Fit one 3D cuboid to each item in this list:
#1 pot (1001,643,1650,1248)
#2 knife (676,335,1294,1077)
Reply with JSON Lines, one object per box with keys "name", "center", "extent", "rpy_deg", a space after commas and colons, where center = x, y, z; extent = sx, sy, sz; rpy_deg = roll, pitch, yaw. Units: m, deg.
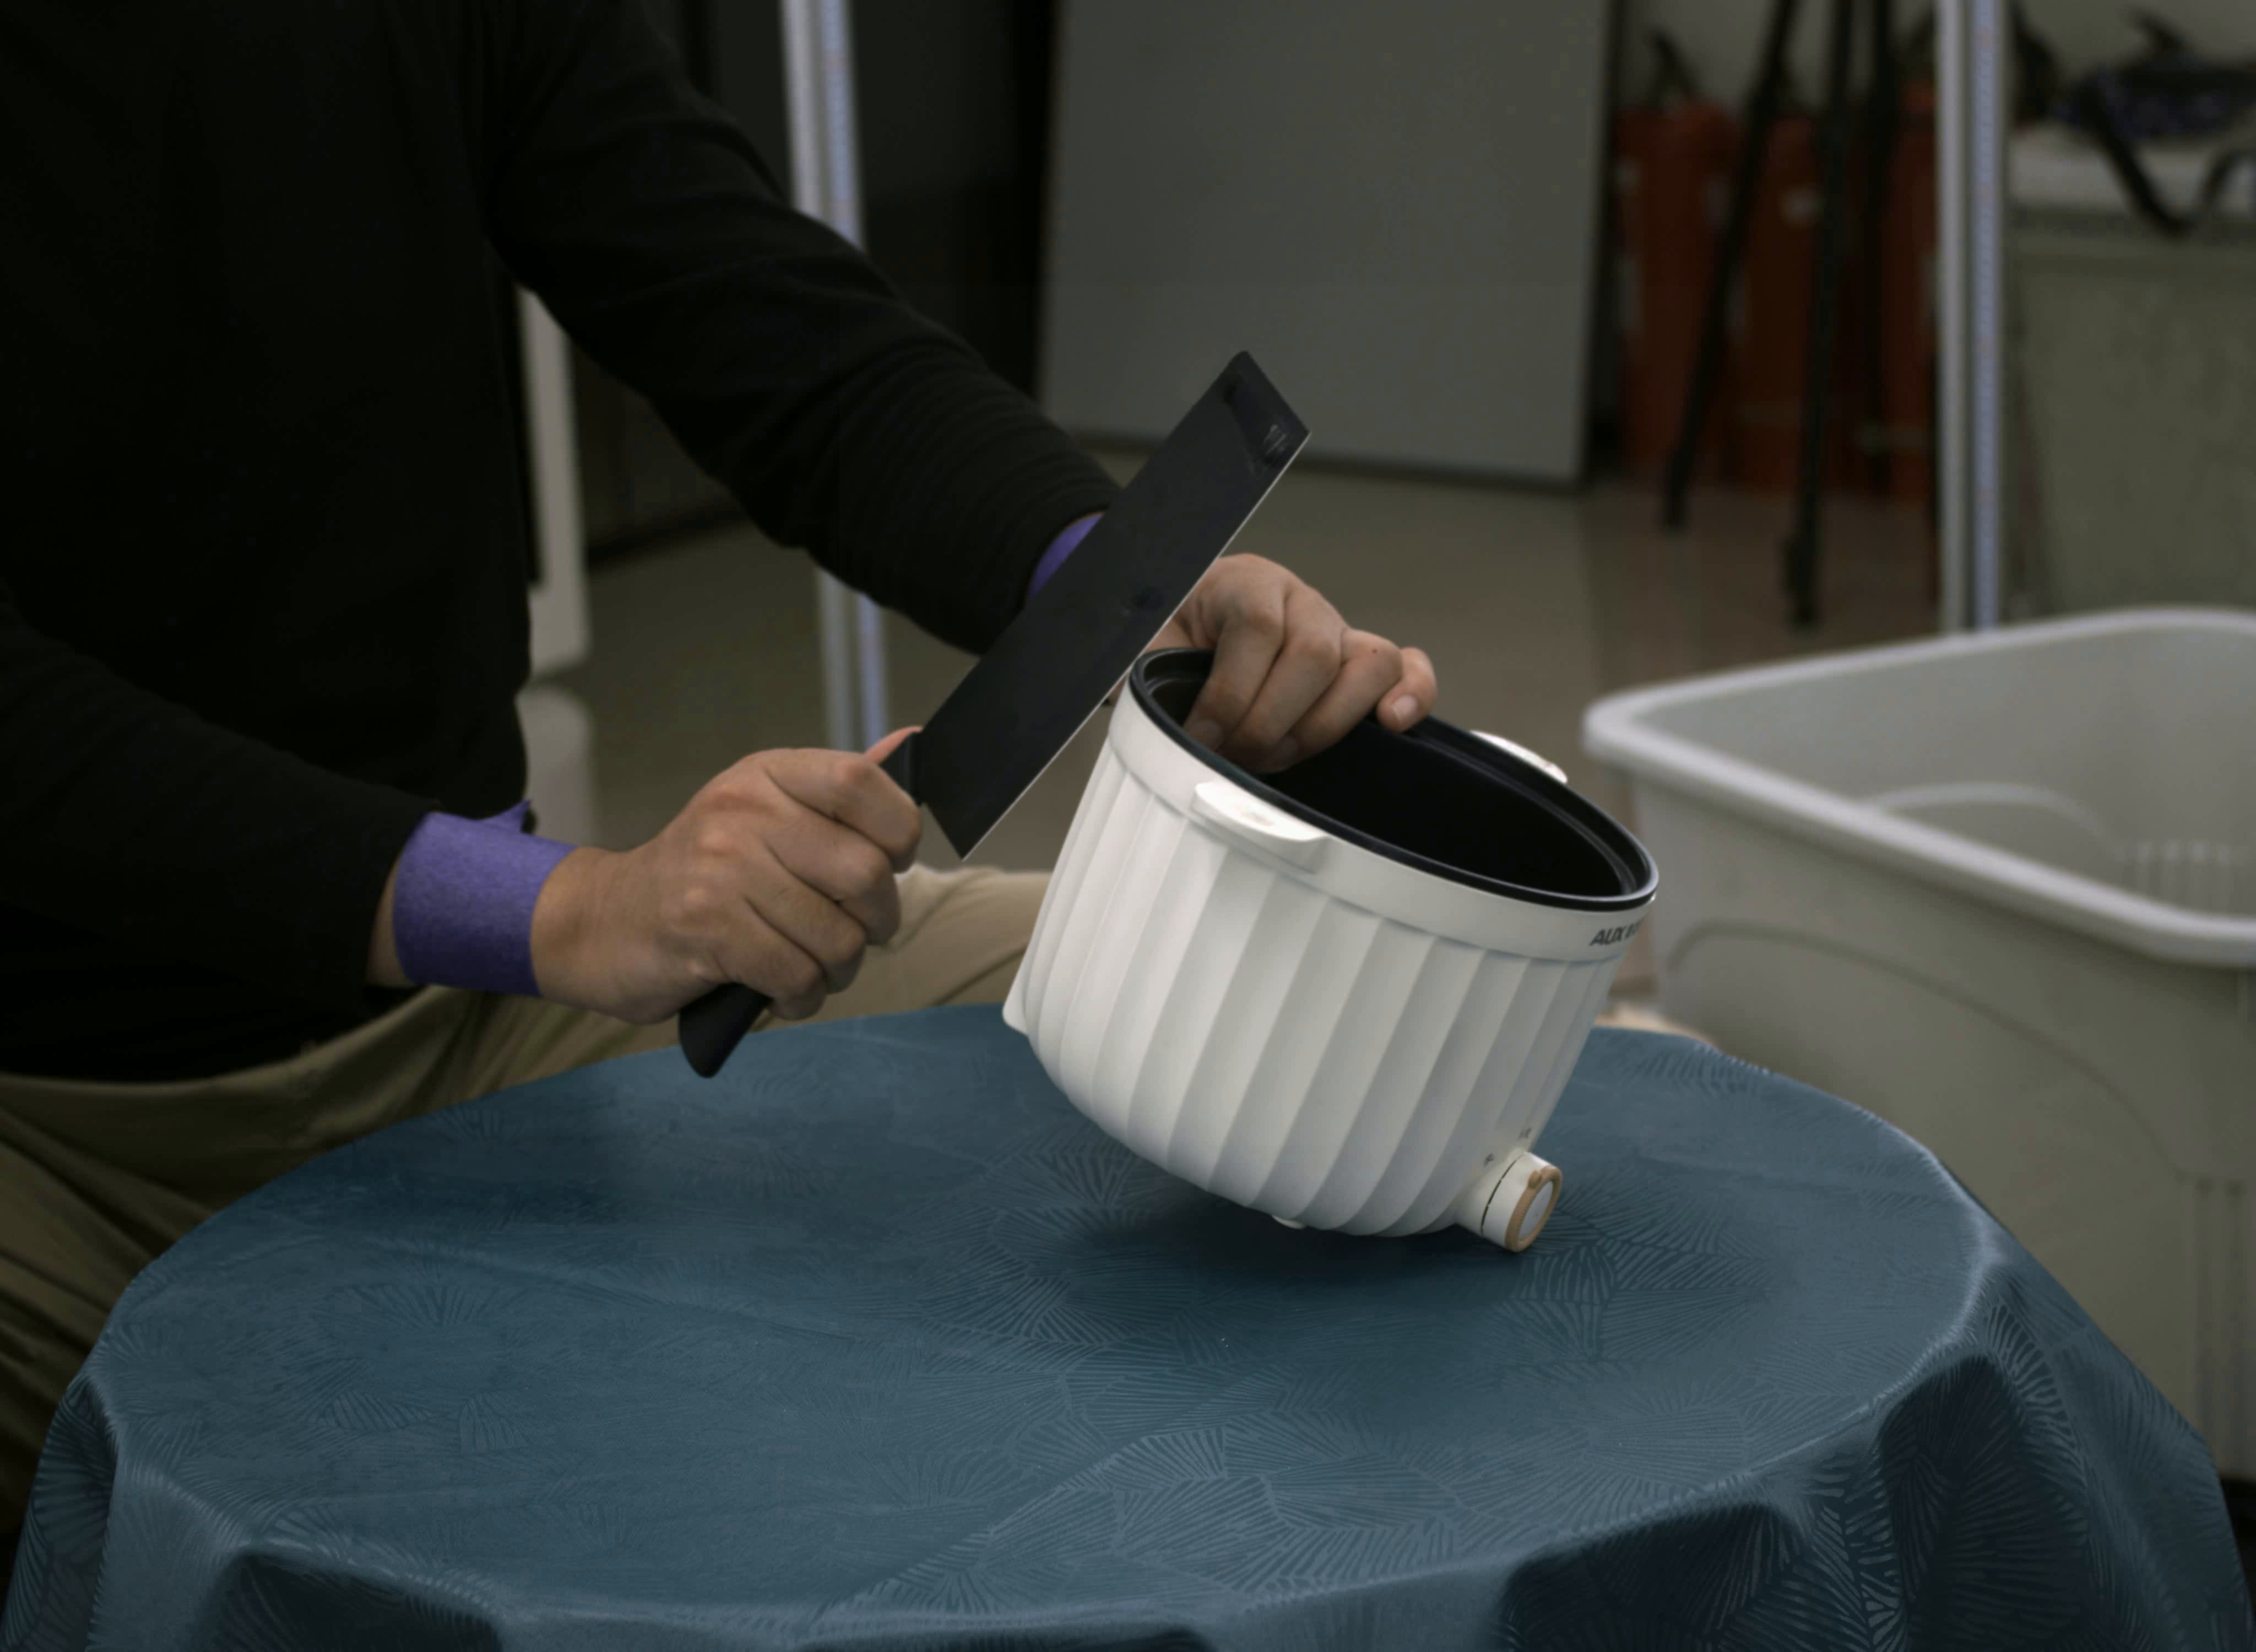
{"name": "pot", "center": [0.064, 0.043, 1.713], "extent": [0.191, 0.144, 0.237], "rpy_deg": [24, 16, 23]}
{"name": "knife", "center": [-0.049, -0.032, 1.758], "extent": [0.020, 0.304, 0.082], "rpy_deg": [29, 21, -34]}
